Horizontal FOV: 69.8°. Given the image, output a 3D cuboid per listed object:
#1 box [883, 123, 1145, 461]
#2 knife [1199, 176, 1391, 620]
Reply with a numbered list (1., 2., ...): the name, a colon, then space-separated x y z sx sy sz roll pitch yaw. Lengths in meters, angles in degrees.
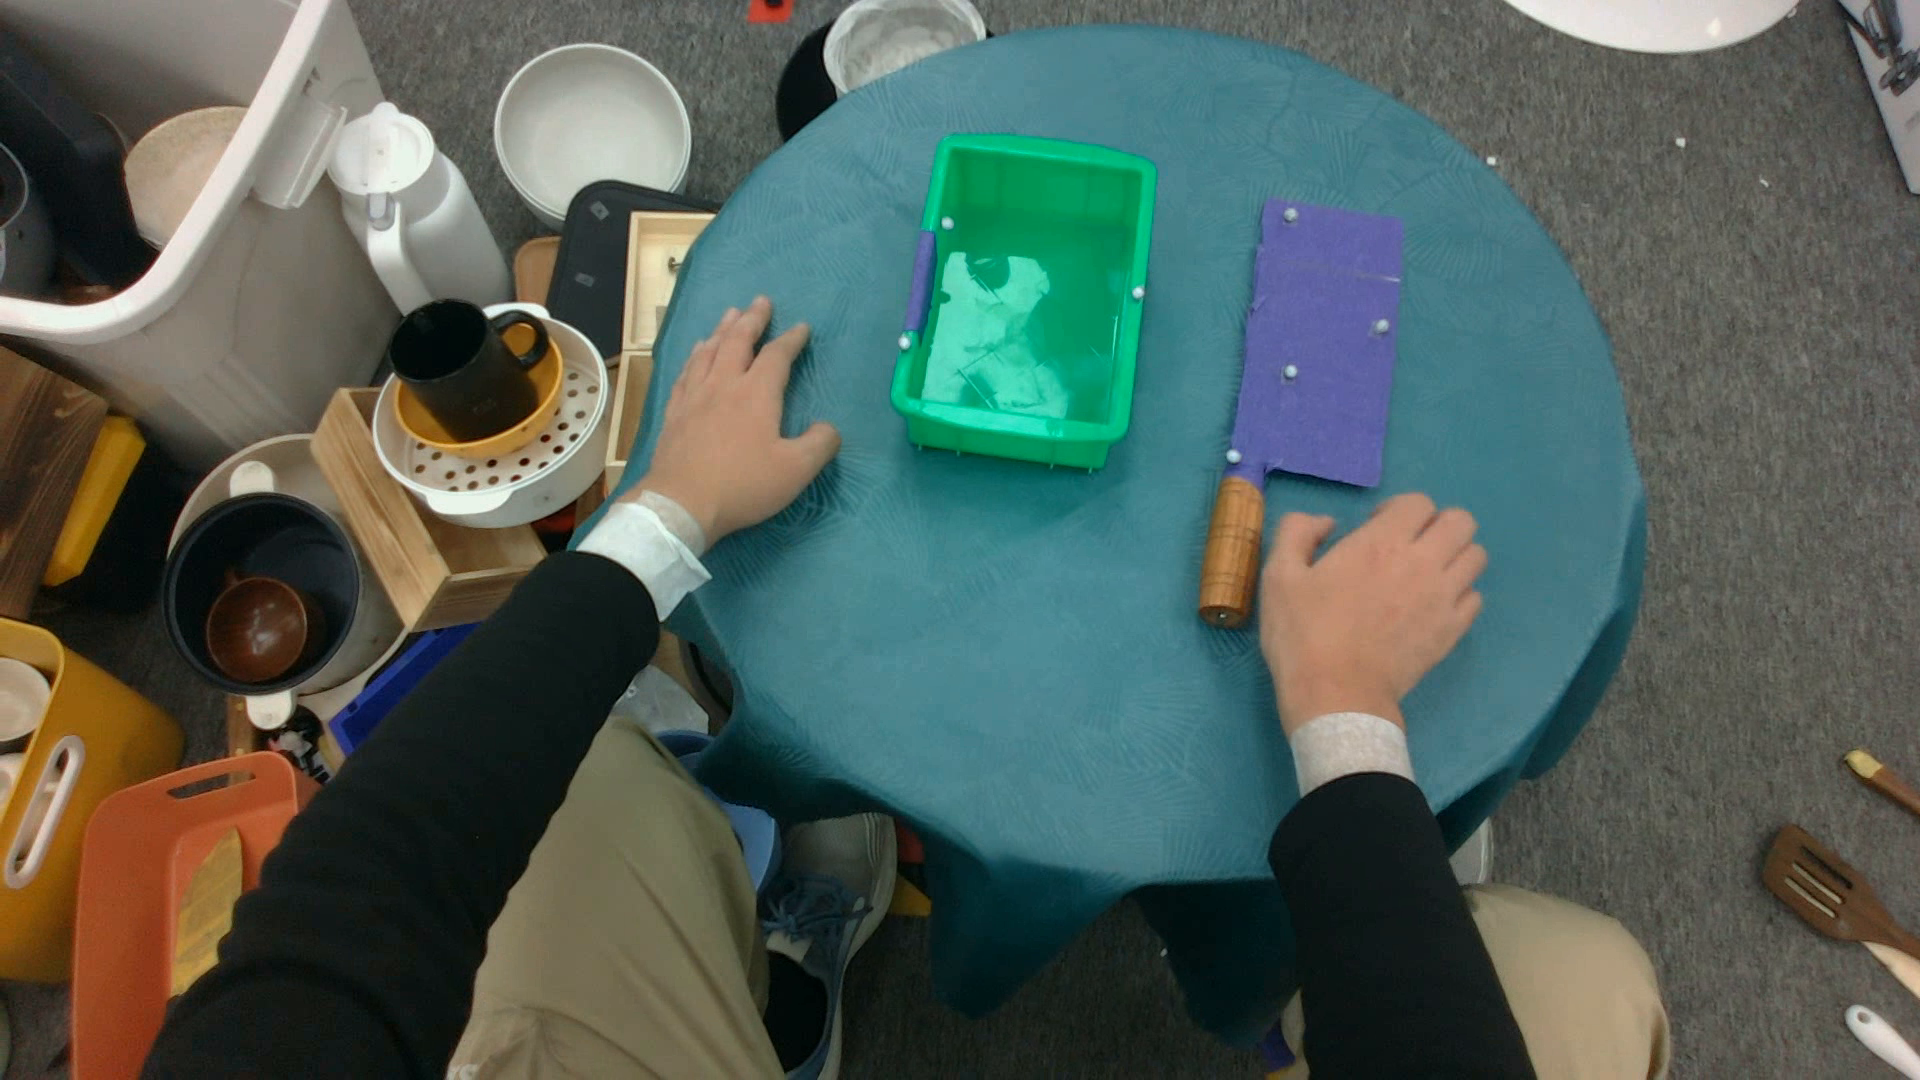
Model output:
1. box: 0.035 -0.148 0.839 0.138 0.065 0.211 6 68 3
2. knife: 0.207 -0.094 0.839 0.104 0.032 0.316 10 66 3
